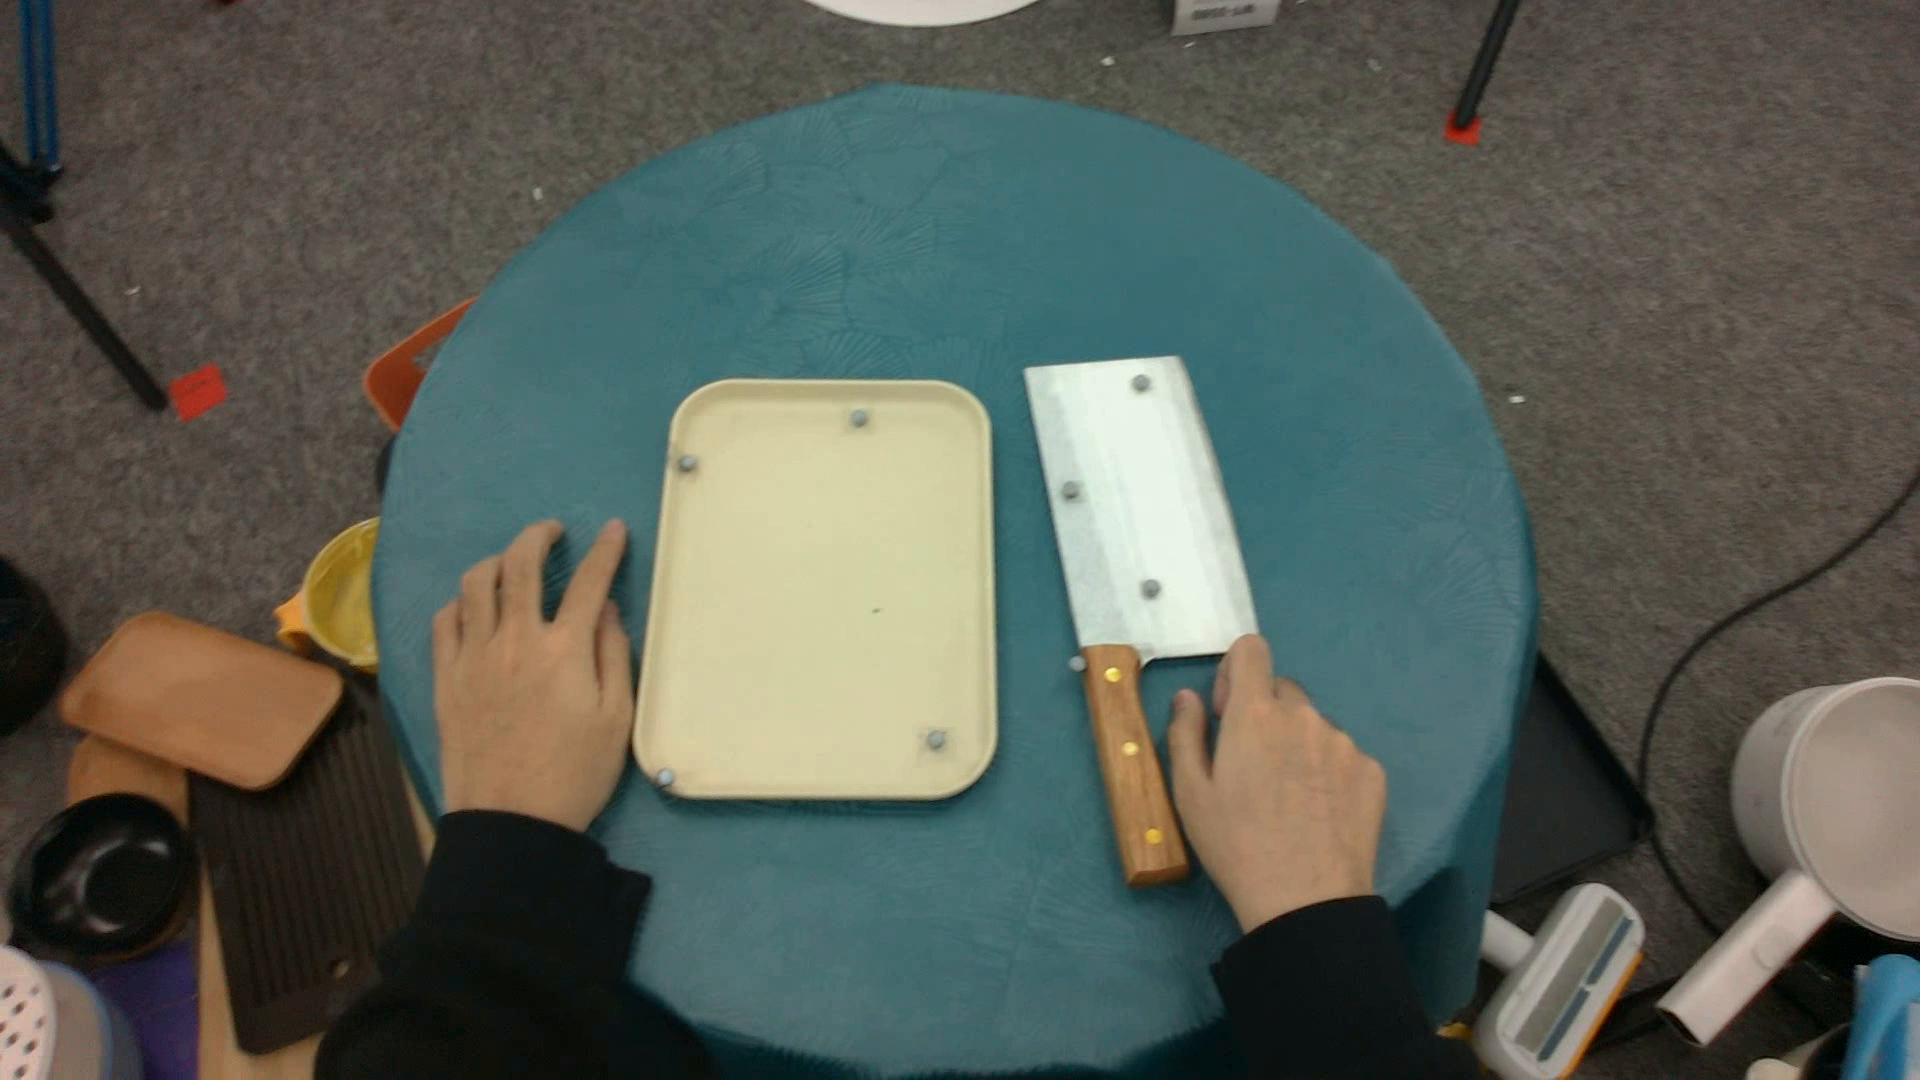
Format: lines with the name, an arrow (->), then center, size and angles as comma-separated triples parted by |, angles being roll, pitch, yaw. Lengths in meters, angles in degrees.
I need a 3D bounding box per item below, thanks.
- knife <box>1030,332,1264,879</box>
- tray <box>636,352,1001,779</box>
knife -> 0.099, 0.015, 0.686 | 0.093, 0.021, 0.307 | -5, 58, -5
tray -> -0.066, 0.007, 0.689 | 0.171, 0.017, 0.240 | 1, 60, -1
